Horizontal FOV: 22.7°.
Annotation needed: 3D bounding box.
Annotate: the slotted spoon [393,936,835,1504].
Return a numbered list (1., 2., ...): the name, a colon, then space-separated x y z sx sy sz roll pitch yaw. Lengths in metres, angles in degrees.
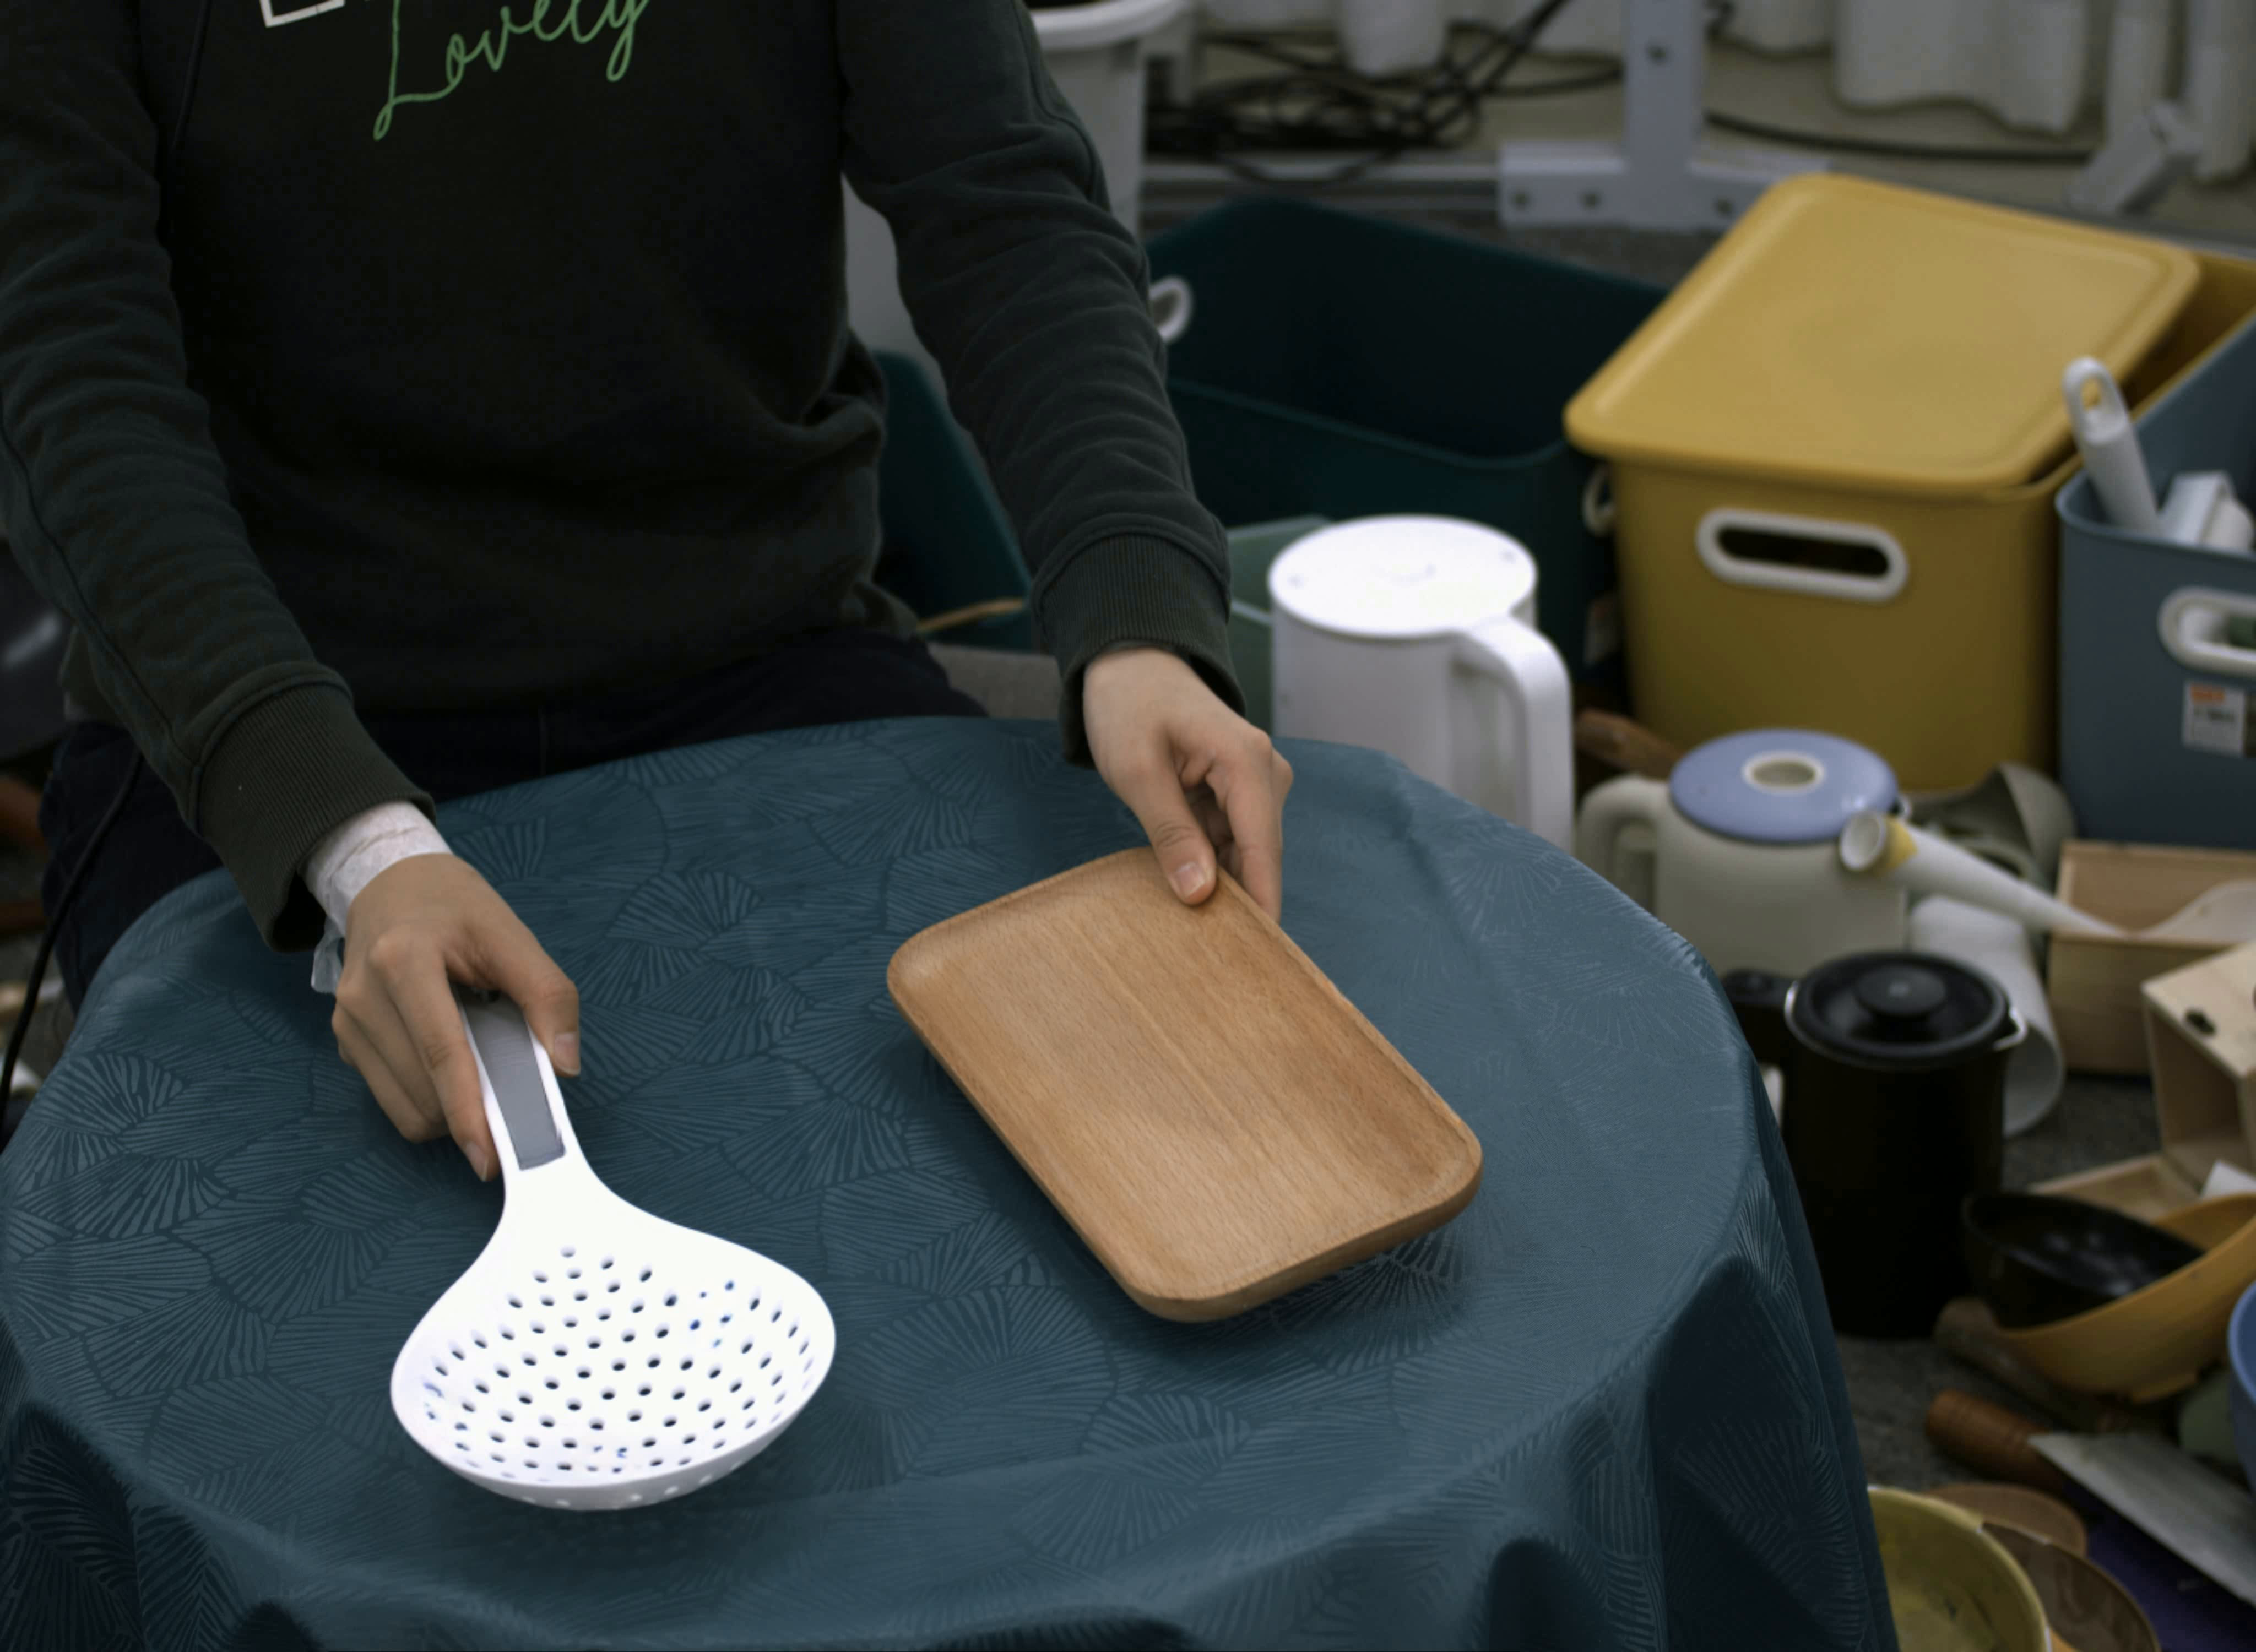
1. slotted spoon: -0.184 0.121 1.810 0.136 0.045 0.354 -9 32 -12

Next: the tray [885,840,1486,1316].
1. tray: 0.016 0.081 1.872 0.131 0.022 0.252 -19 32 -17
